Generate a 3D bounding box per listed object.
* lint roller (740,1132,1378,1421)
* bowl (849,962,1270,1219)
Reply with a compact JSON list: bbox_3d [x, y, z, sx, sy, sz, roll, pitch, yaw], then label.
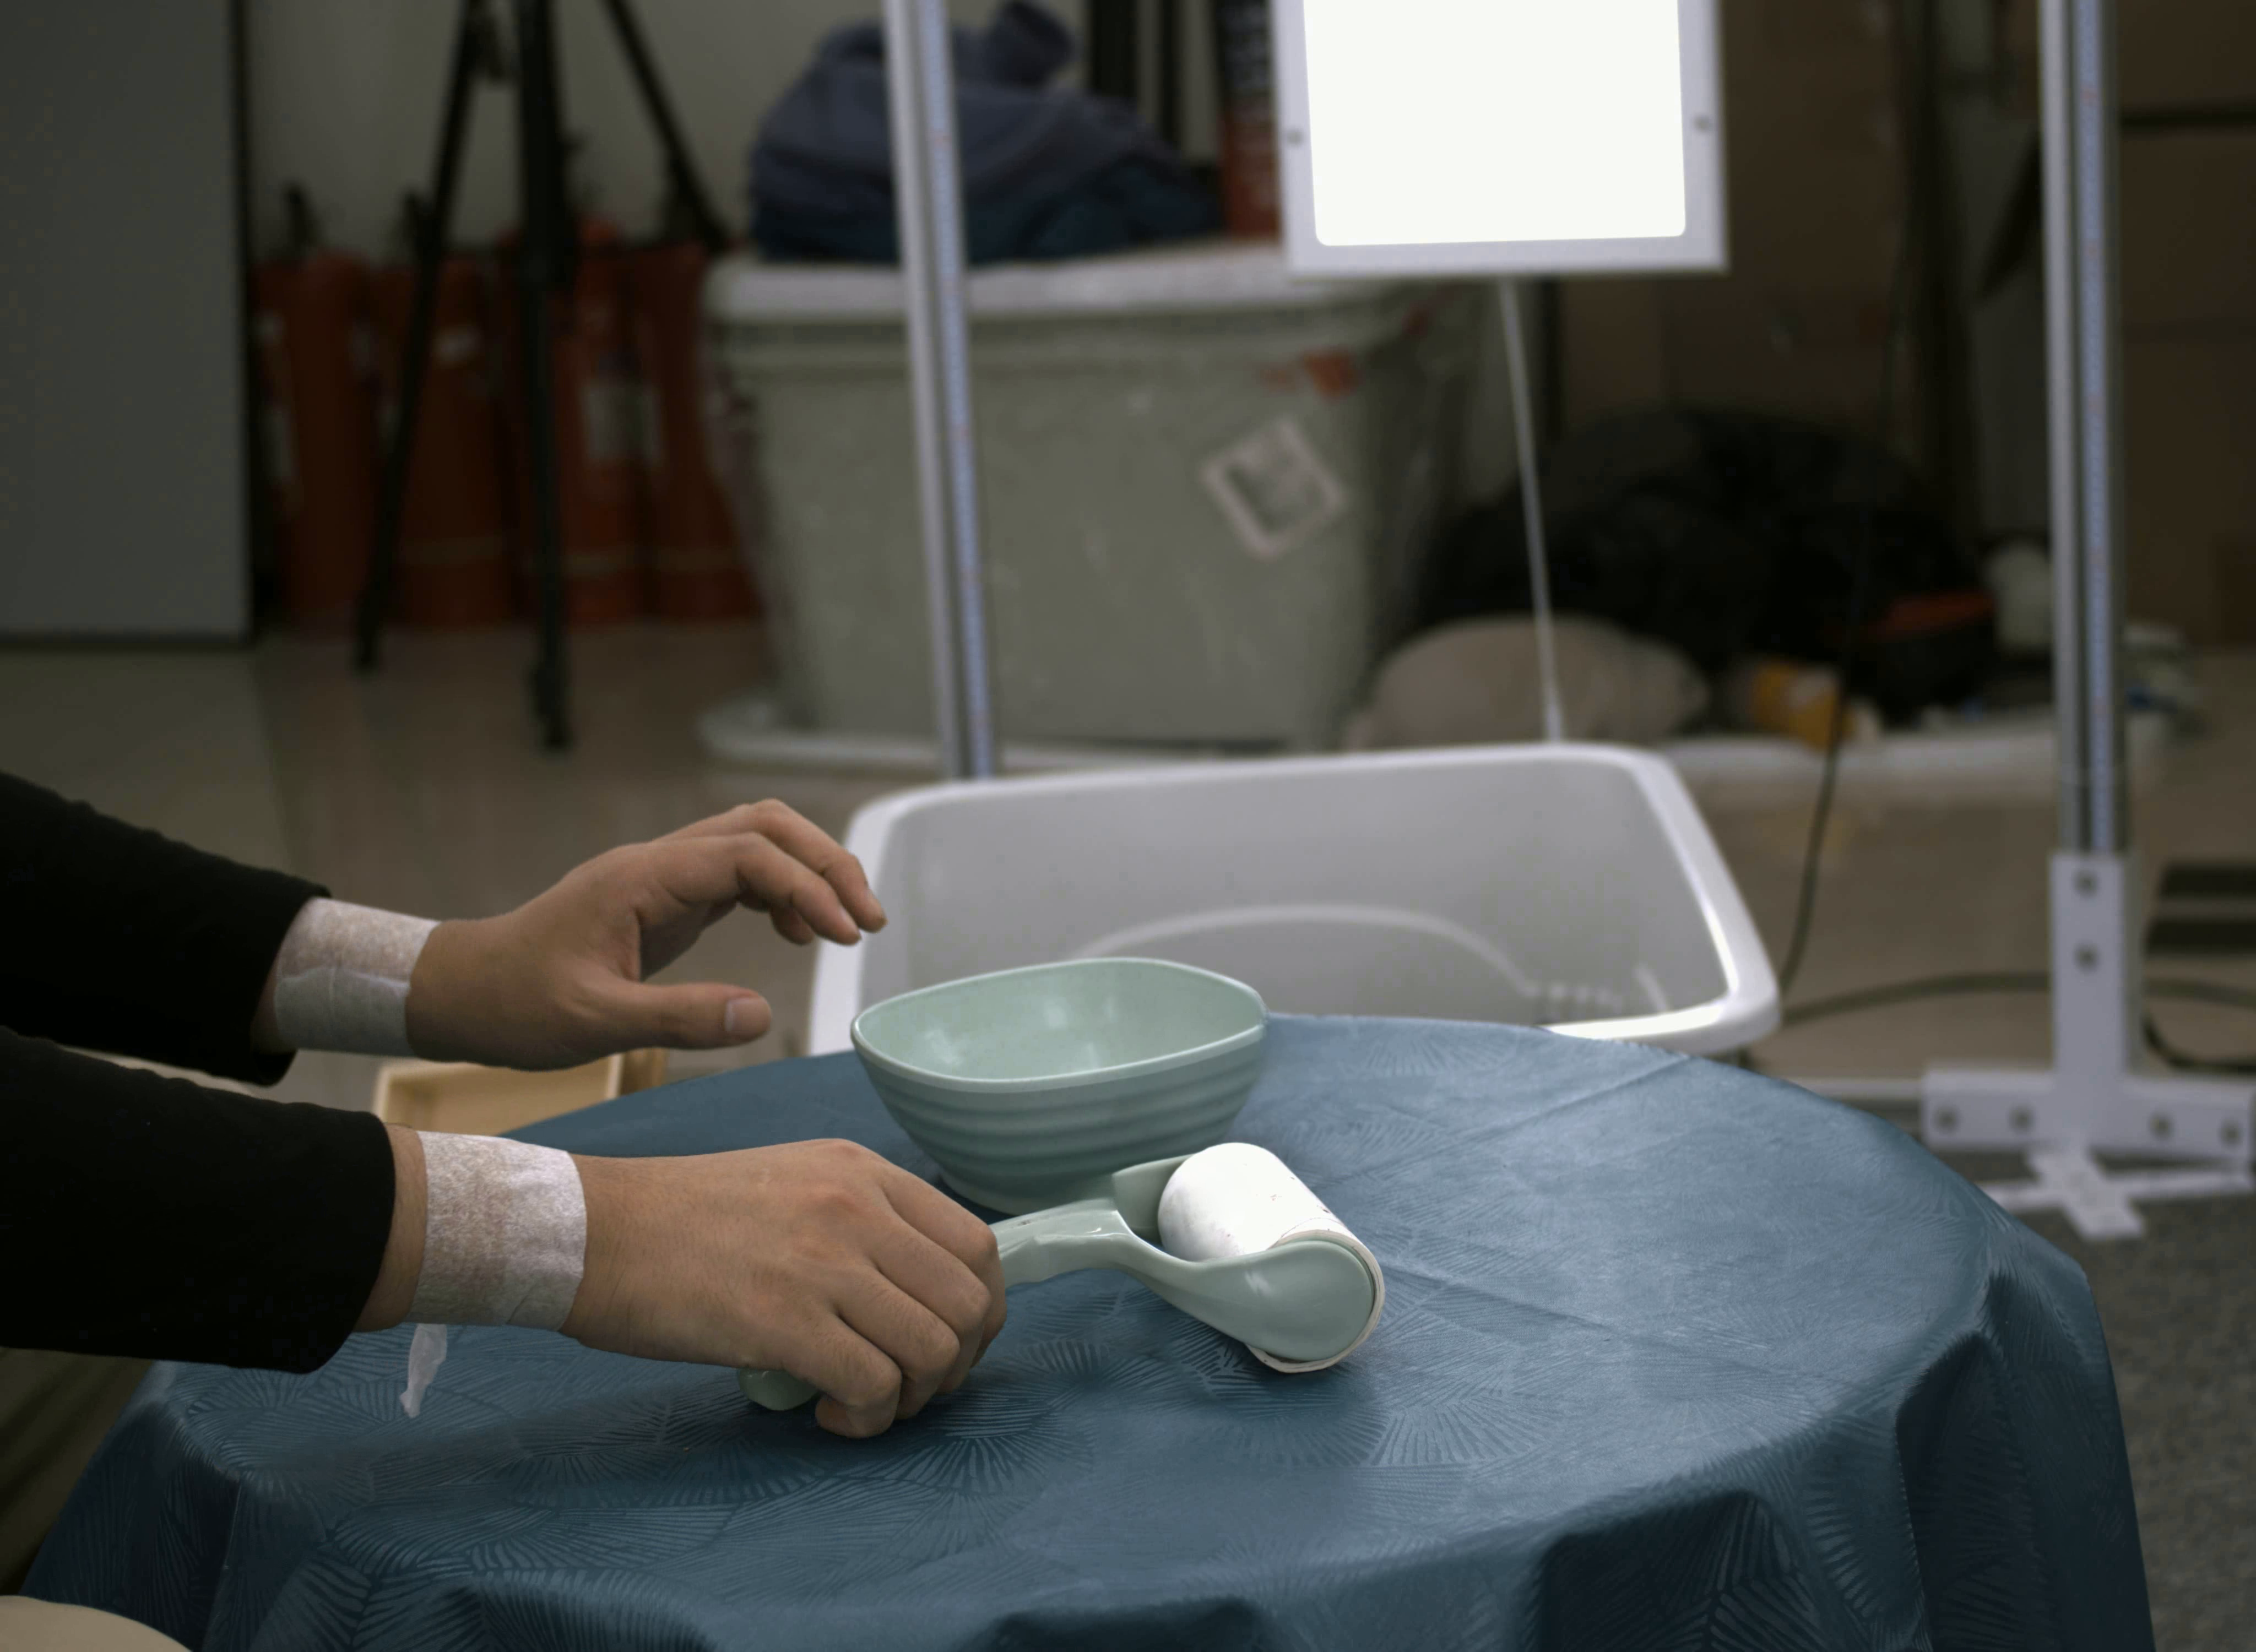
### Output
[{"bbox_3d":[-0.028,0.145,1.739,0.195,0.048,0.117,-9,15,-11],"label":"lint roller"},{"bbox_3d":[-0.023,0.095,1.918,0.151,0.059,0.151,-3,14,-1],"label":"bowl"}]
